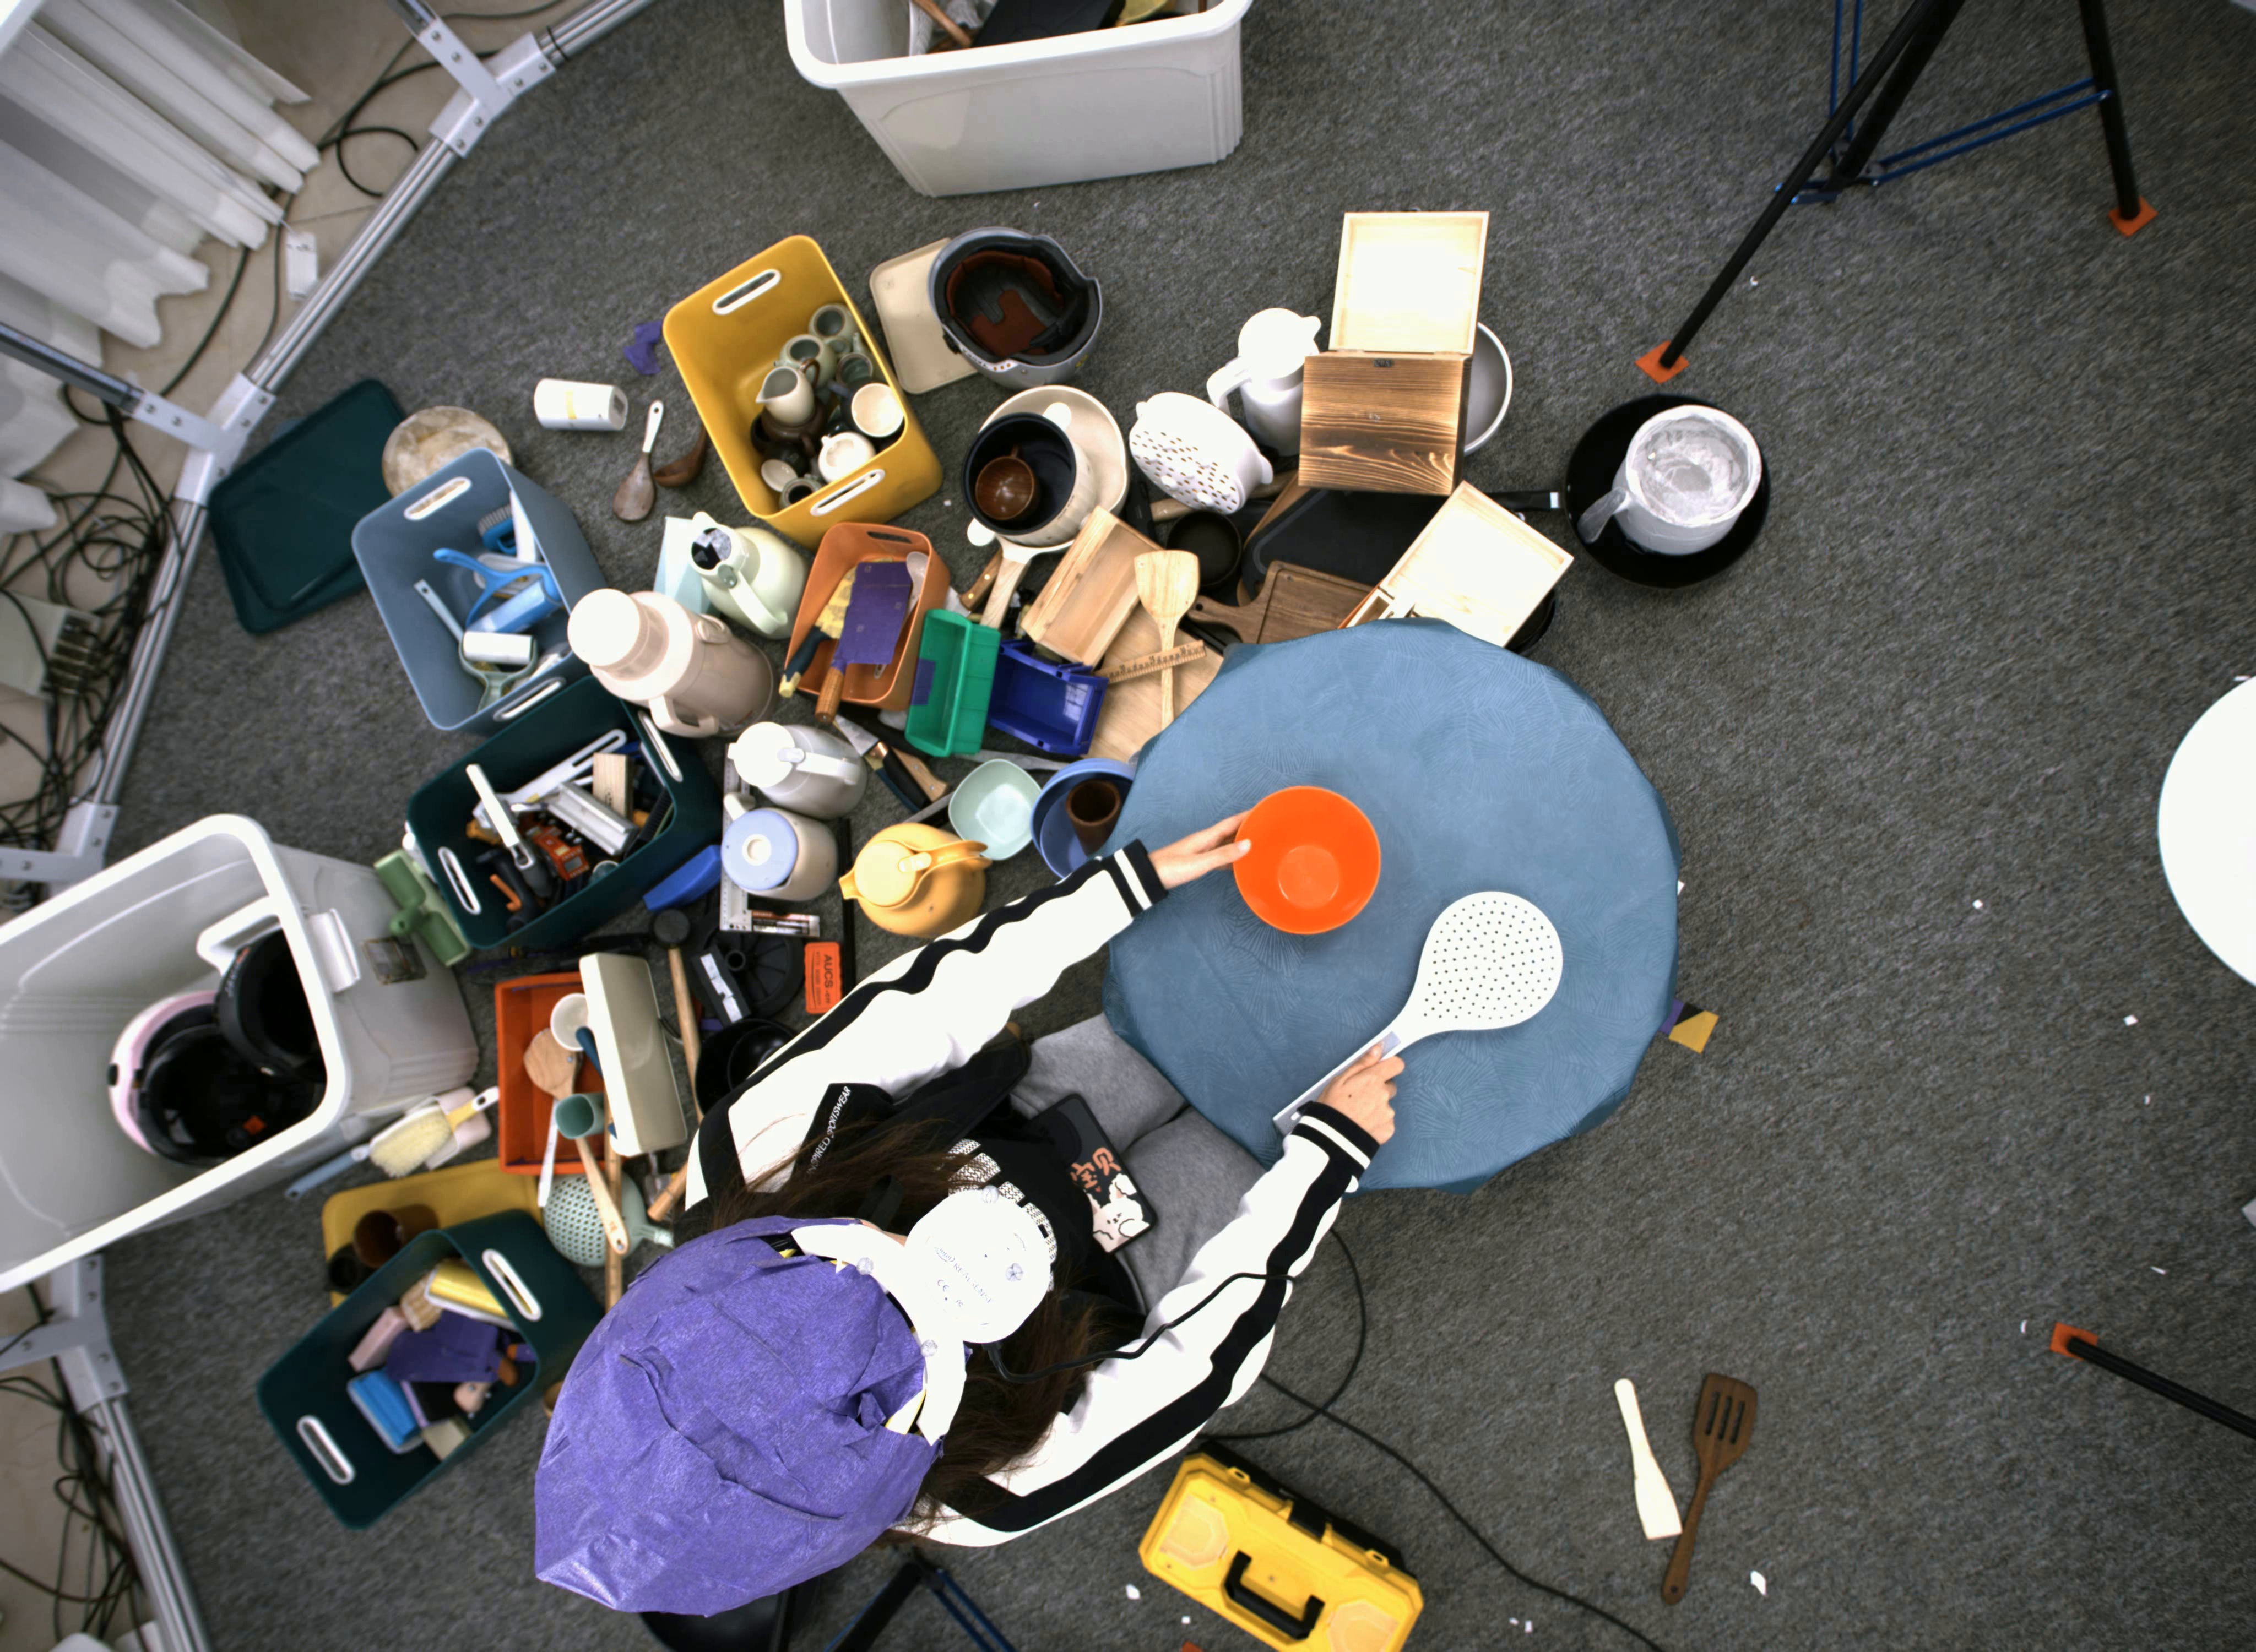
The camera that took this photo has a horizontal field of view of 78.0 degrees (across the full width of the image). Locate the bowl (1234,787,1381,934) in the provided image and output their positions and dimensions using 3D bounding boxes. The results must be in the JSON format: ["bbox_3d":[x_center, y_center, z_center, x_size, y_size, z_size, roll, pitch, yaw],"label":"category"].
[{"bbox_3d":[0.185,0.037,1.427,0.148,0.104,0.147,-1,87,9],"label":"bowl"}]

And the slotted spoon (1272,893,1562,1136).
[{"bbox_3d":[0.291,0.204,1.426,0.352,0.046,0.135,-39,73,7],"label":"slotted spoon"}]
